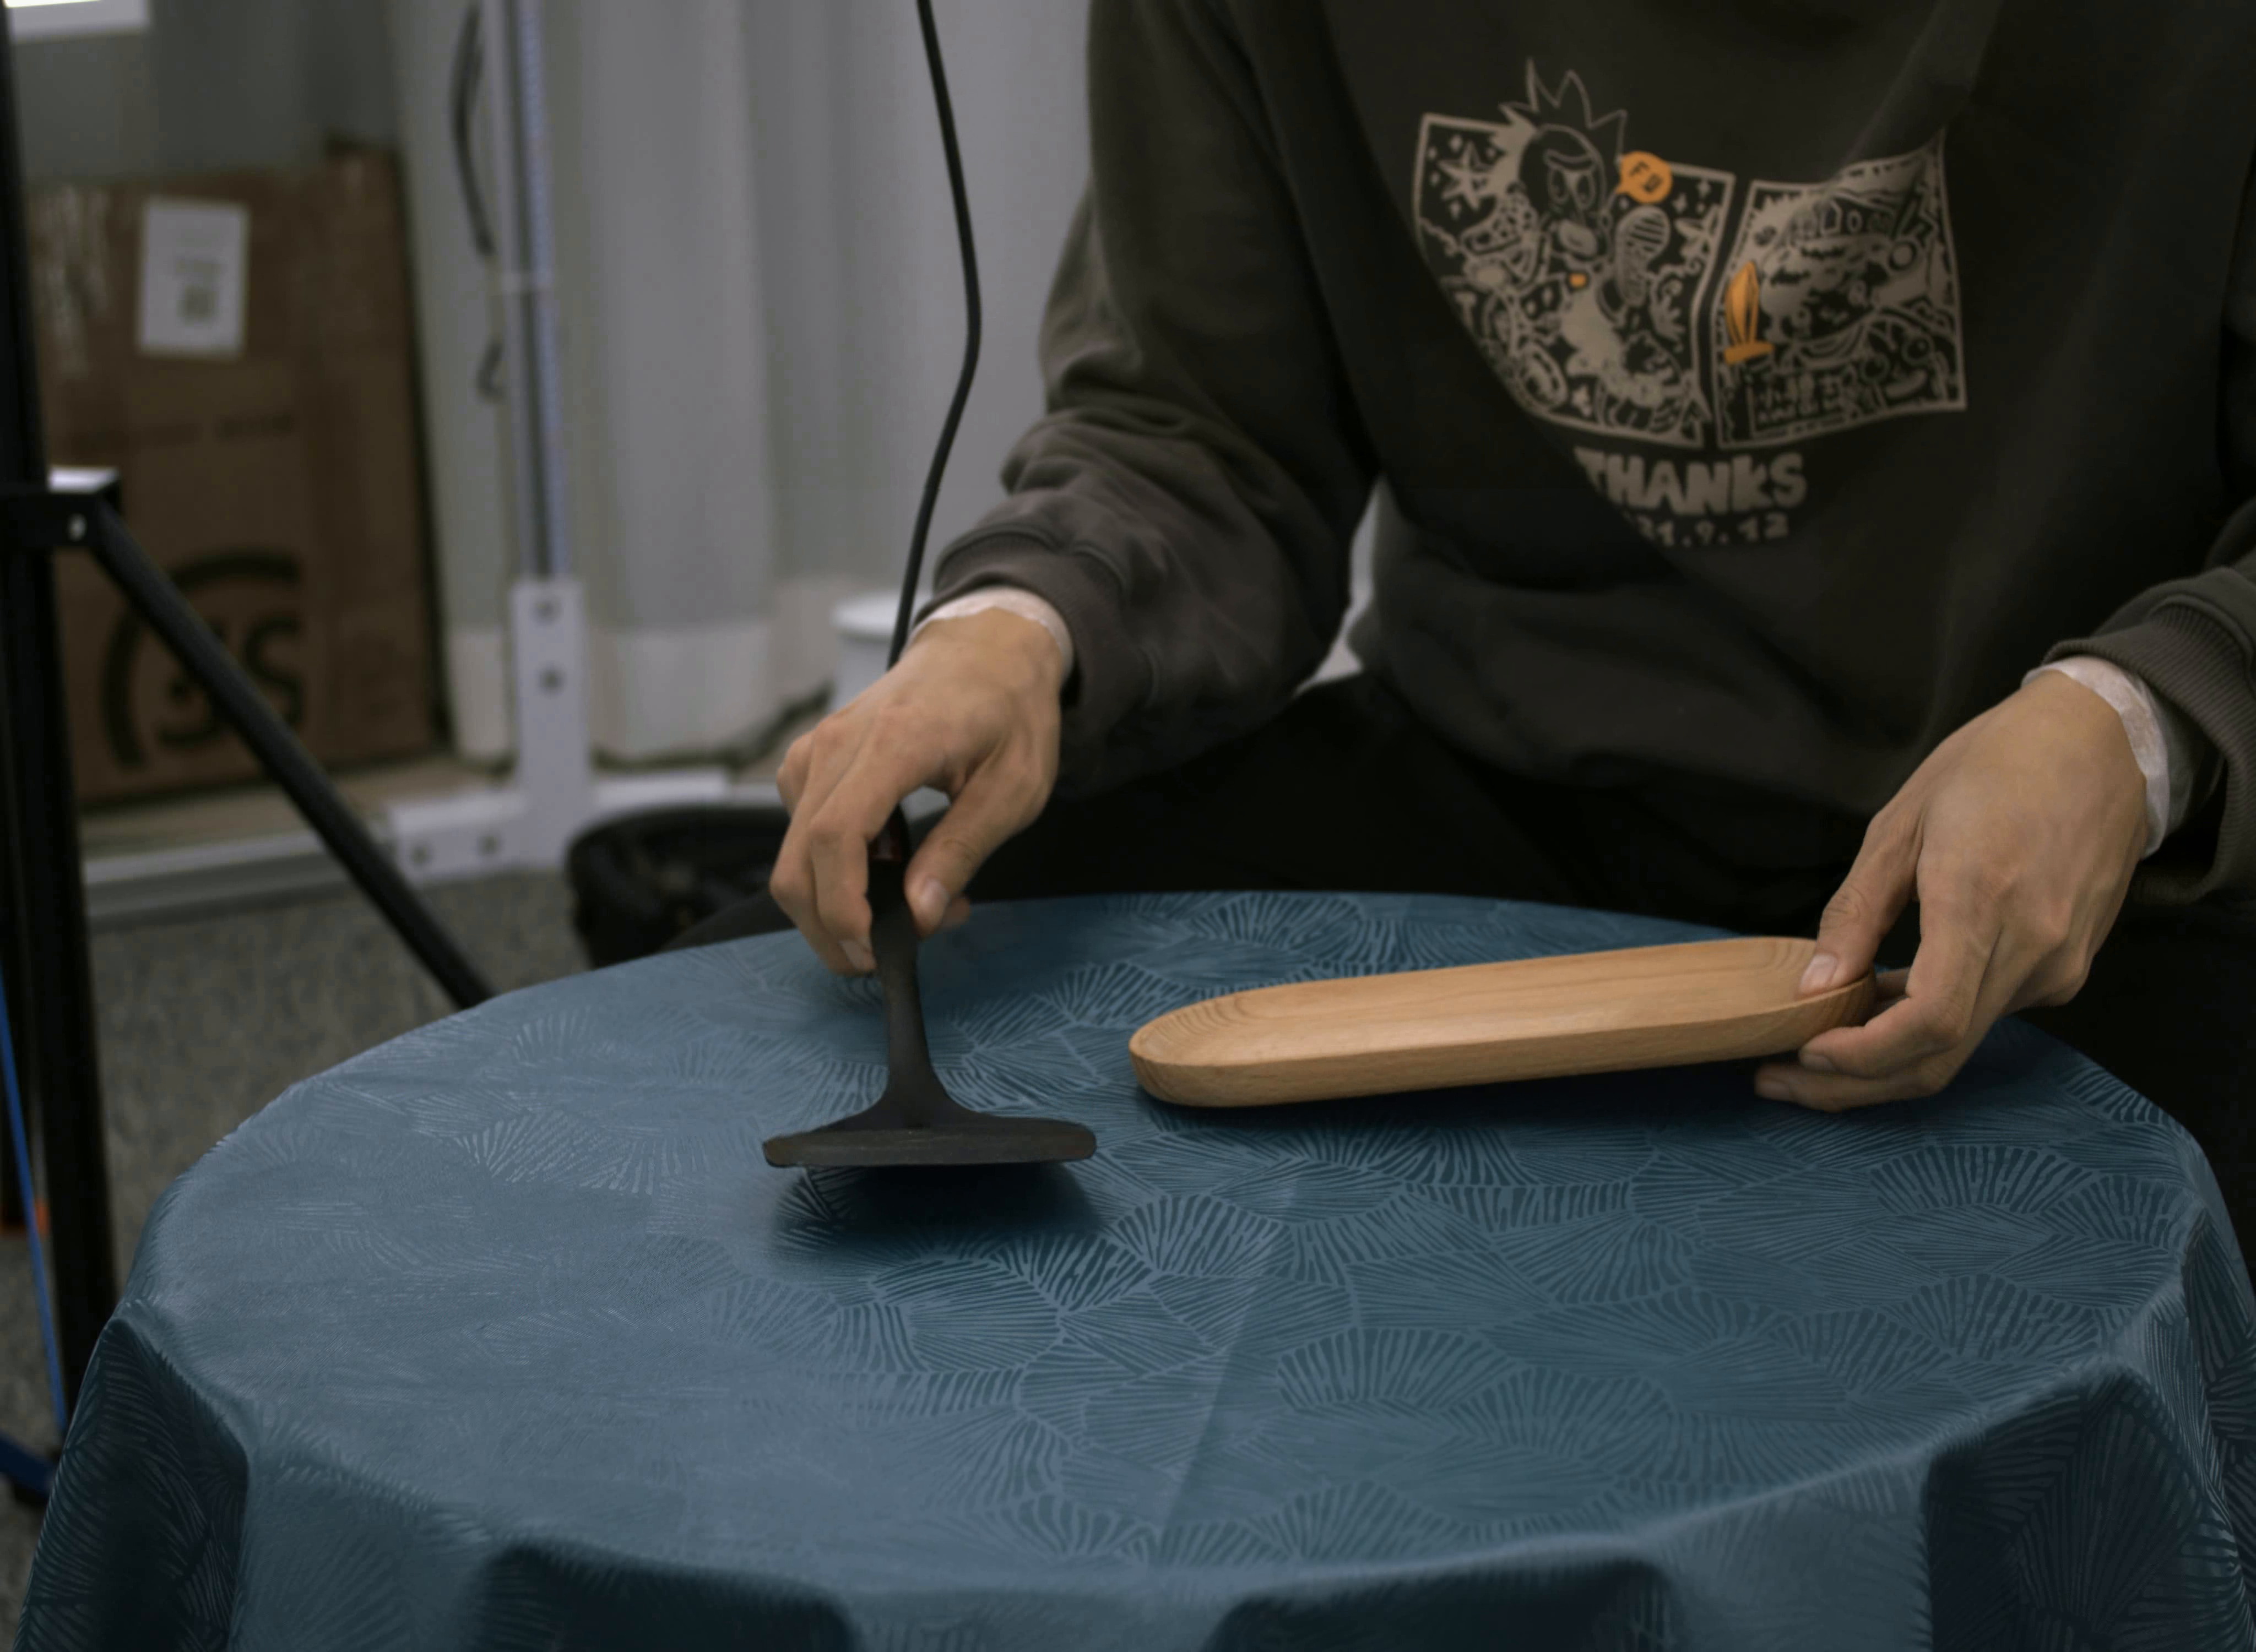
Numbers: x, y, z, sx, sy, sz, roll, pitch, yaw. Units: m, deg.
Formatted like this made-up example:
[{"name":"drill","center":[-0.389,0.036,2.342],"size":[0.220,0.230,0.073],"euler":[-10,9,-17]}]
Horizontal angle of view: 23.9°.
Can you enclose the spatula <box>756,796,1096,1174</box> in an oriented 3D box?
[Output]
[{"name":"spatula","center":[-0.073,0.047,1.680],"size":[0.099,0.040,0.329],"euler":[-1,25,-6]}]

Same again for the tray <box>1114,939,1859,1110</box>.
[{"name":"tray","center":[0.111,0.062,1.638],"size":[0.232,0.020,0.101],"euler":[-7,11,10]}]
